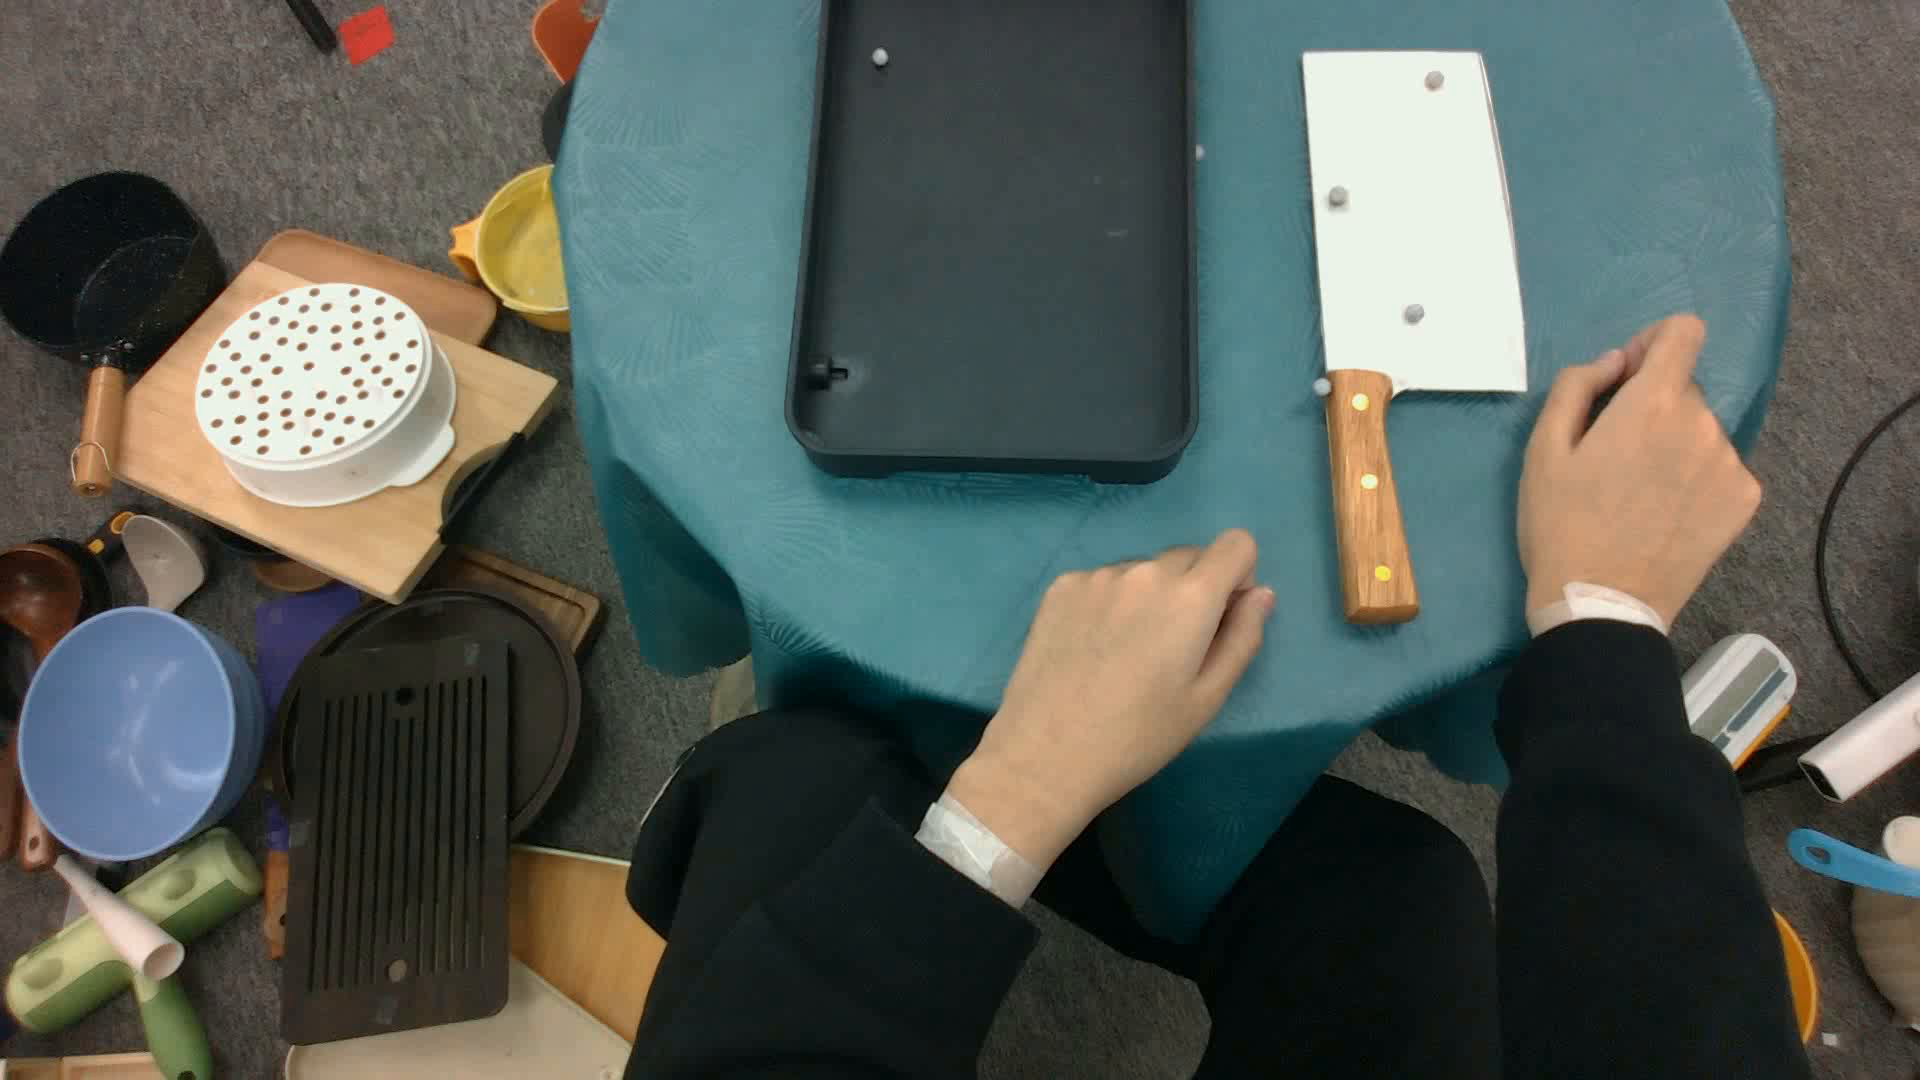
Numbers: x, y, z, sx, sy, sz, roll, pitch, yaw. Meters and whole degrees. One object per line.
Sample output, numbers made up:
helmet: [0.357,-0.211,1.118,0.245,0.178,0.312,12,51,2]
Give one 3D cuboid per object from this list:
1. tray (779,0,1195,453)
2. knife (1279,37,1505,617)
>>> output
tray: [0.012,-0.193,0.665,0.184,0.037,0.319,-1,71,2]
knife: [0.203,-0.111,0.640,0.093,0.021,0.306,1,69,1]
